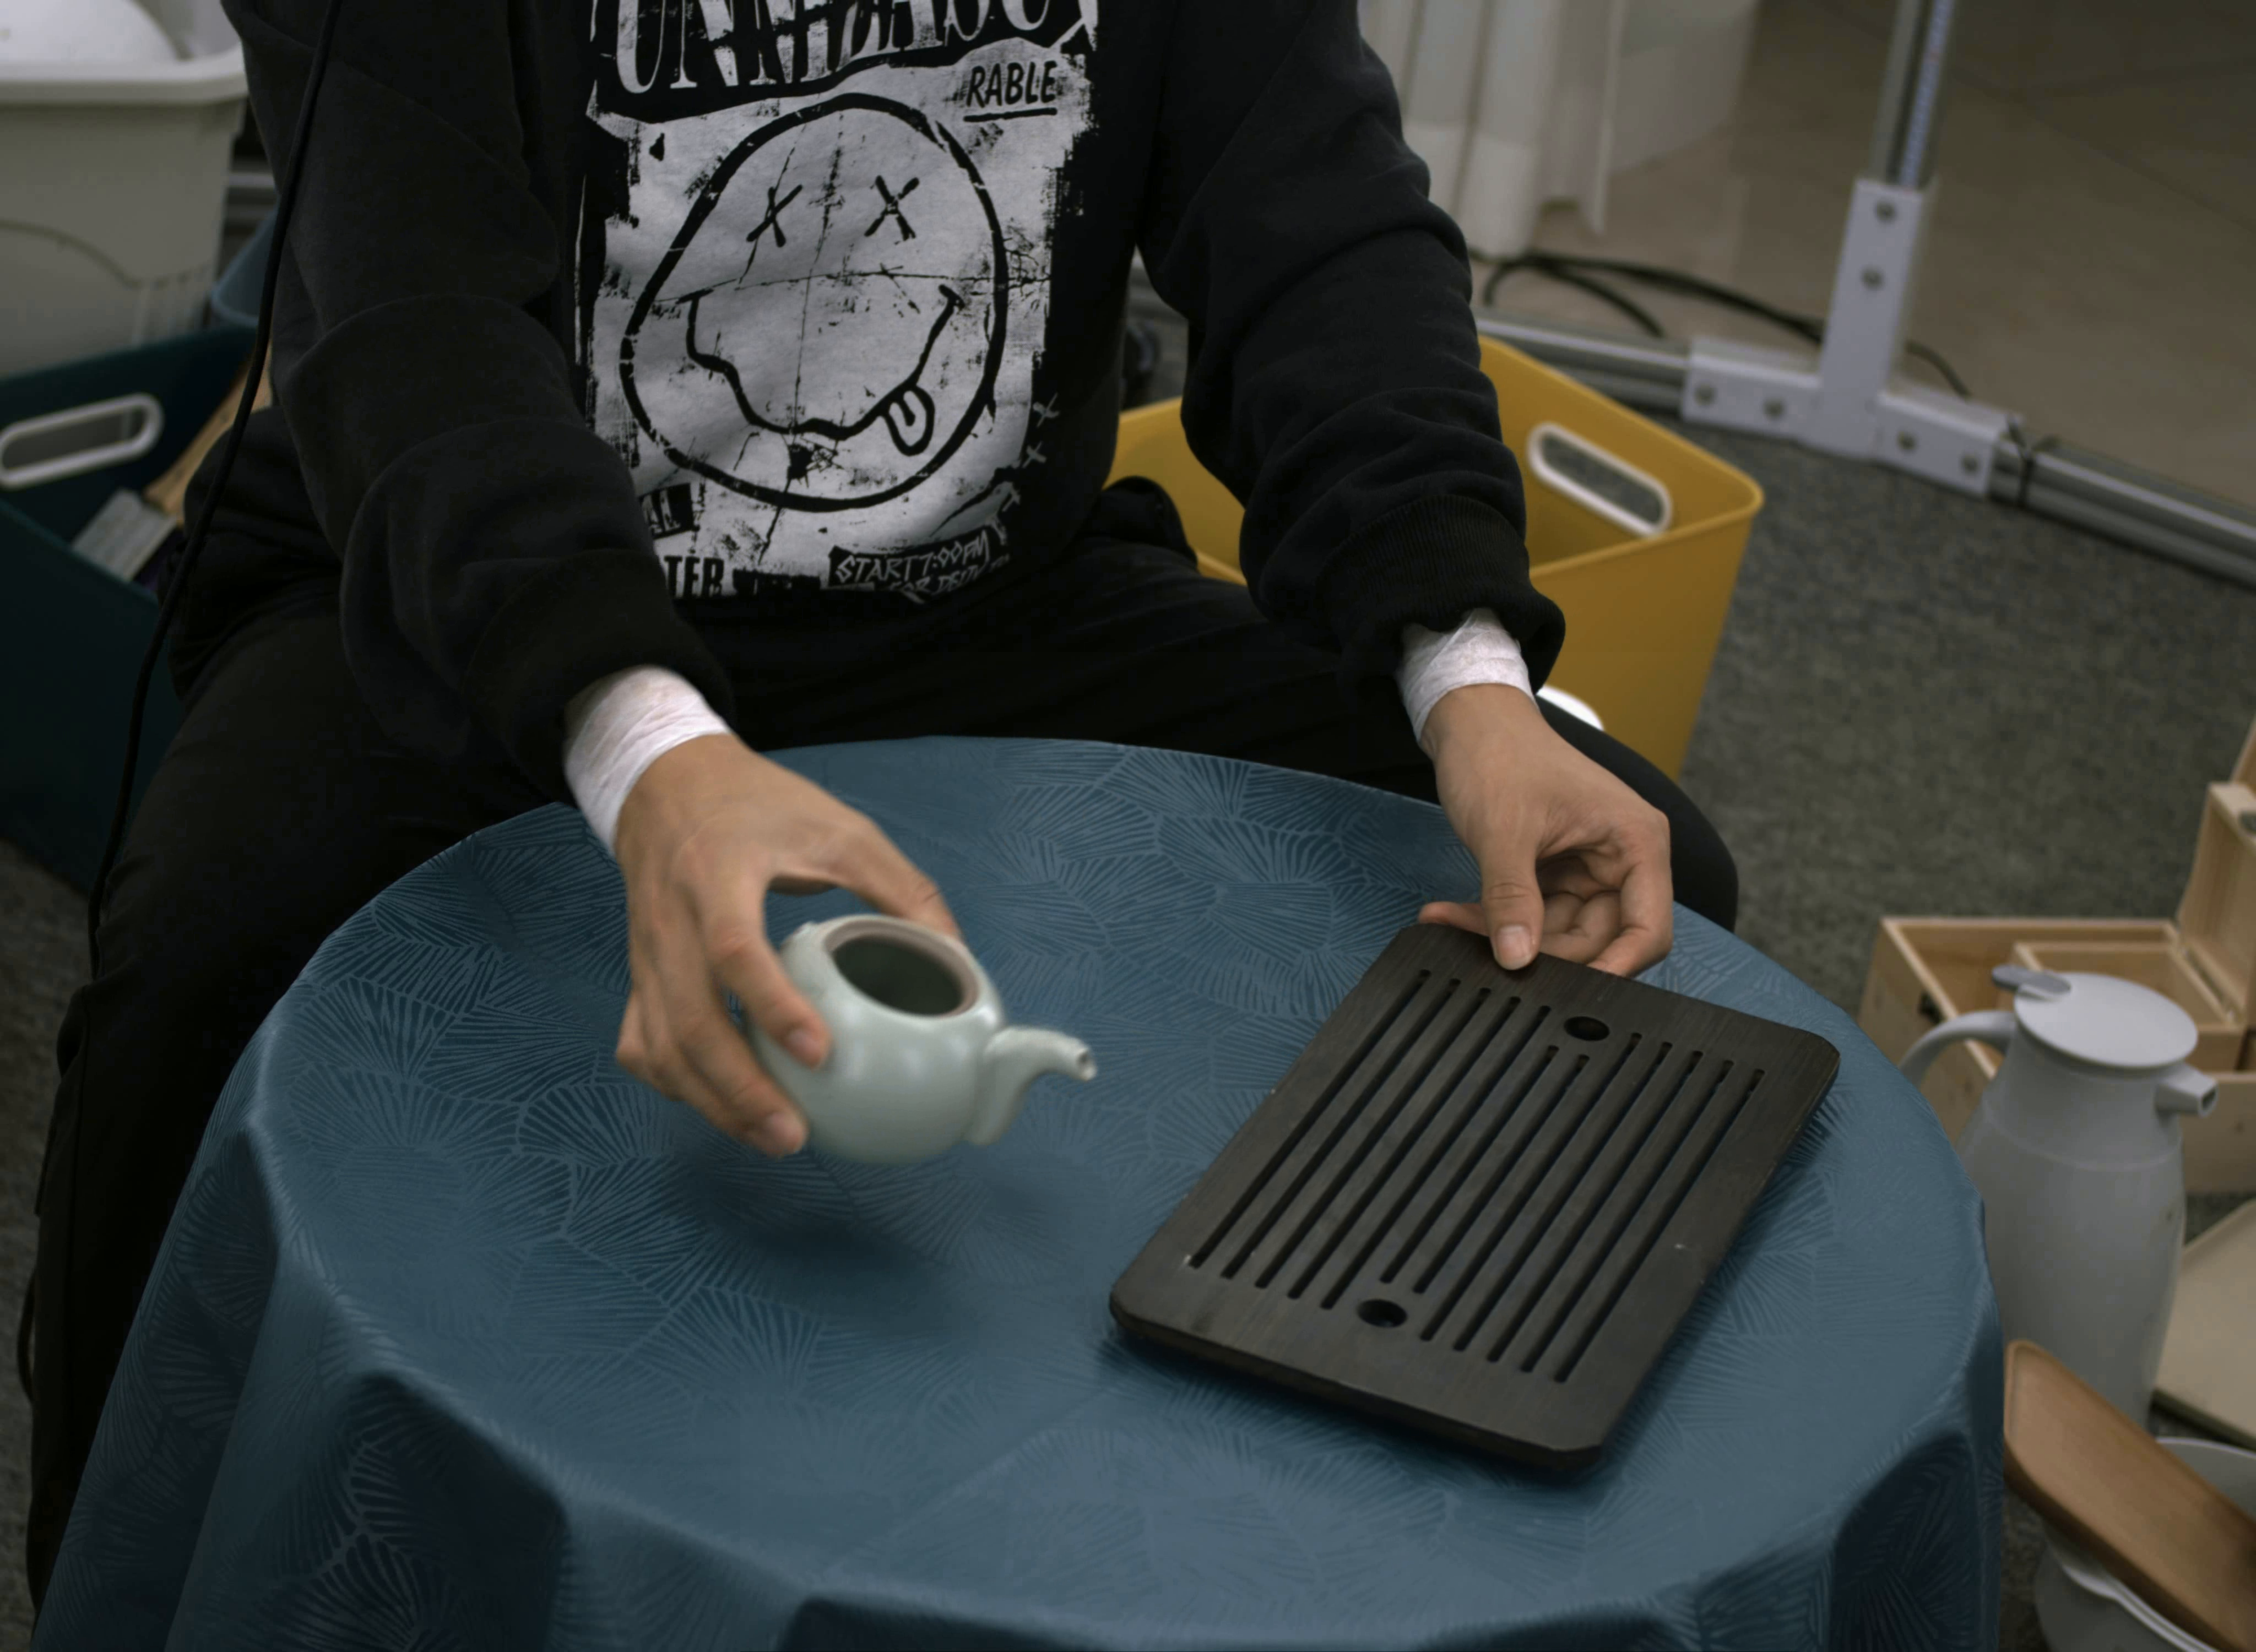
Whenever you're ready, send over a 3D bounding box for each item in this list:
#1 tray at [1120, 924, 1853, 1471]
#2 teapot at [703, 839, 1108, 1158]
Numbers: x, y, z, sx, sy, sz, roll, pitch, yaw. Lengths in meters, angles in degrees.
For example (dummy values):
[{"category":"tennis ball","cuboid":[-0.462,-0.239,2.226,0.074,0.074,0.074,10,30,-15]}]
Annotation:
[{"category":"tray","cuboid":[0.128,0.123,1.812,0.170,0.018,0.306,16,29,17]},{"category":"teapot","cuboid":[-0.079,0.066,1.741,0.144,0.074,0.088,32,30,10]}]
